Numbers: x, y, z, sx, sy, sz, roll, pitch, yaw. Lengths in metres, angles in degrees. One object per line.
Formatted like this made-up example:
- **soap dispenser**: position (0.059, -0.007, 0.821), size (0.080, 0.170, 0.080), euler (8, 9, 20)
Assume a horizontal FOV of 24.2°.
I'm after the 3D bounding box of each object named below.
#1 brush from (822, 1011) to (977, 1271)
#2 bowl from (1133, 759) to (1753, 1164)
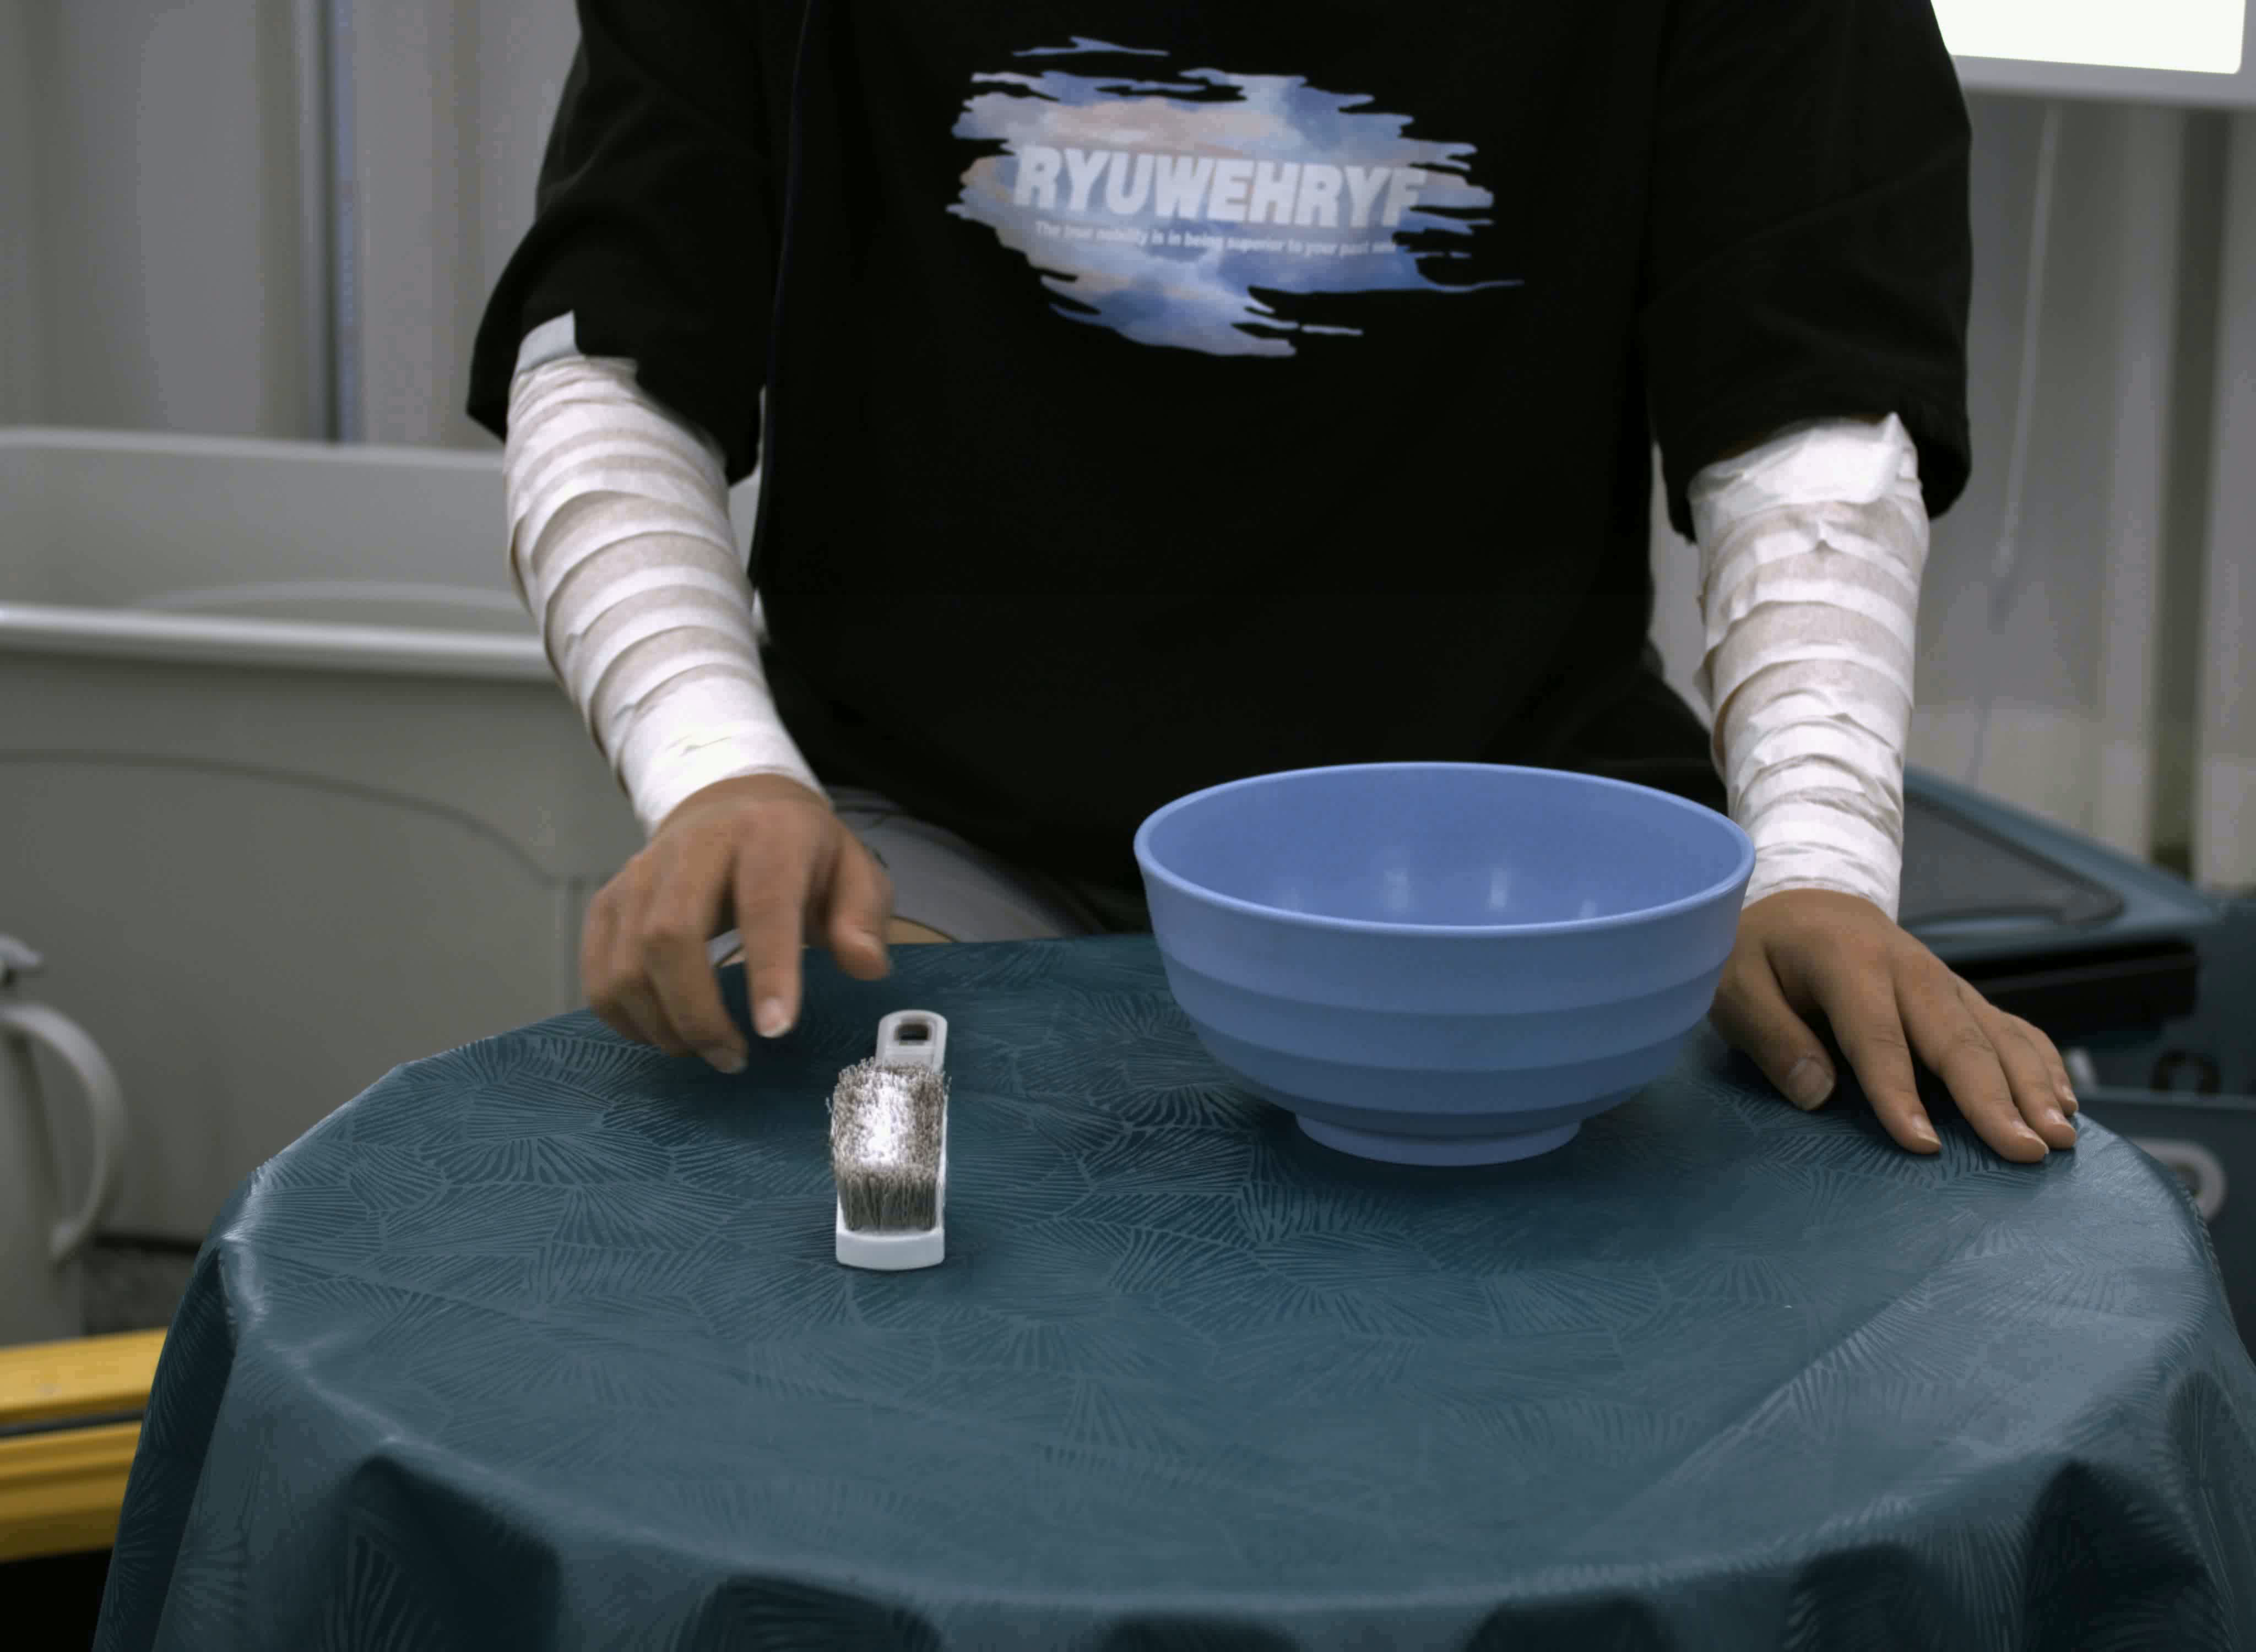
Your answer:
- **brush**: position (-0.068, 0.078, 1.650), size (0.034, 0.050, 0.242), euler (-1, 15, 3)
- **bowl**: position (0.100, 0.048, 1.678), size (0.196, 0.096, 0.195), euler (0, 16, 1)
